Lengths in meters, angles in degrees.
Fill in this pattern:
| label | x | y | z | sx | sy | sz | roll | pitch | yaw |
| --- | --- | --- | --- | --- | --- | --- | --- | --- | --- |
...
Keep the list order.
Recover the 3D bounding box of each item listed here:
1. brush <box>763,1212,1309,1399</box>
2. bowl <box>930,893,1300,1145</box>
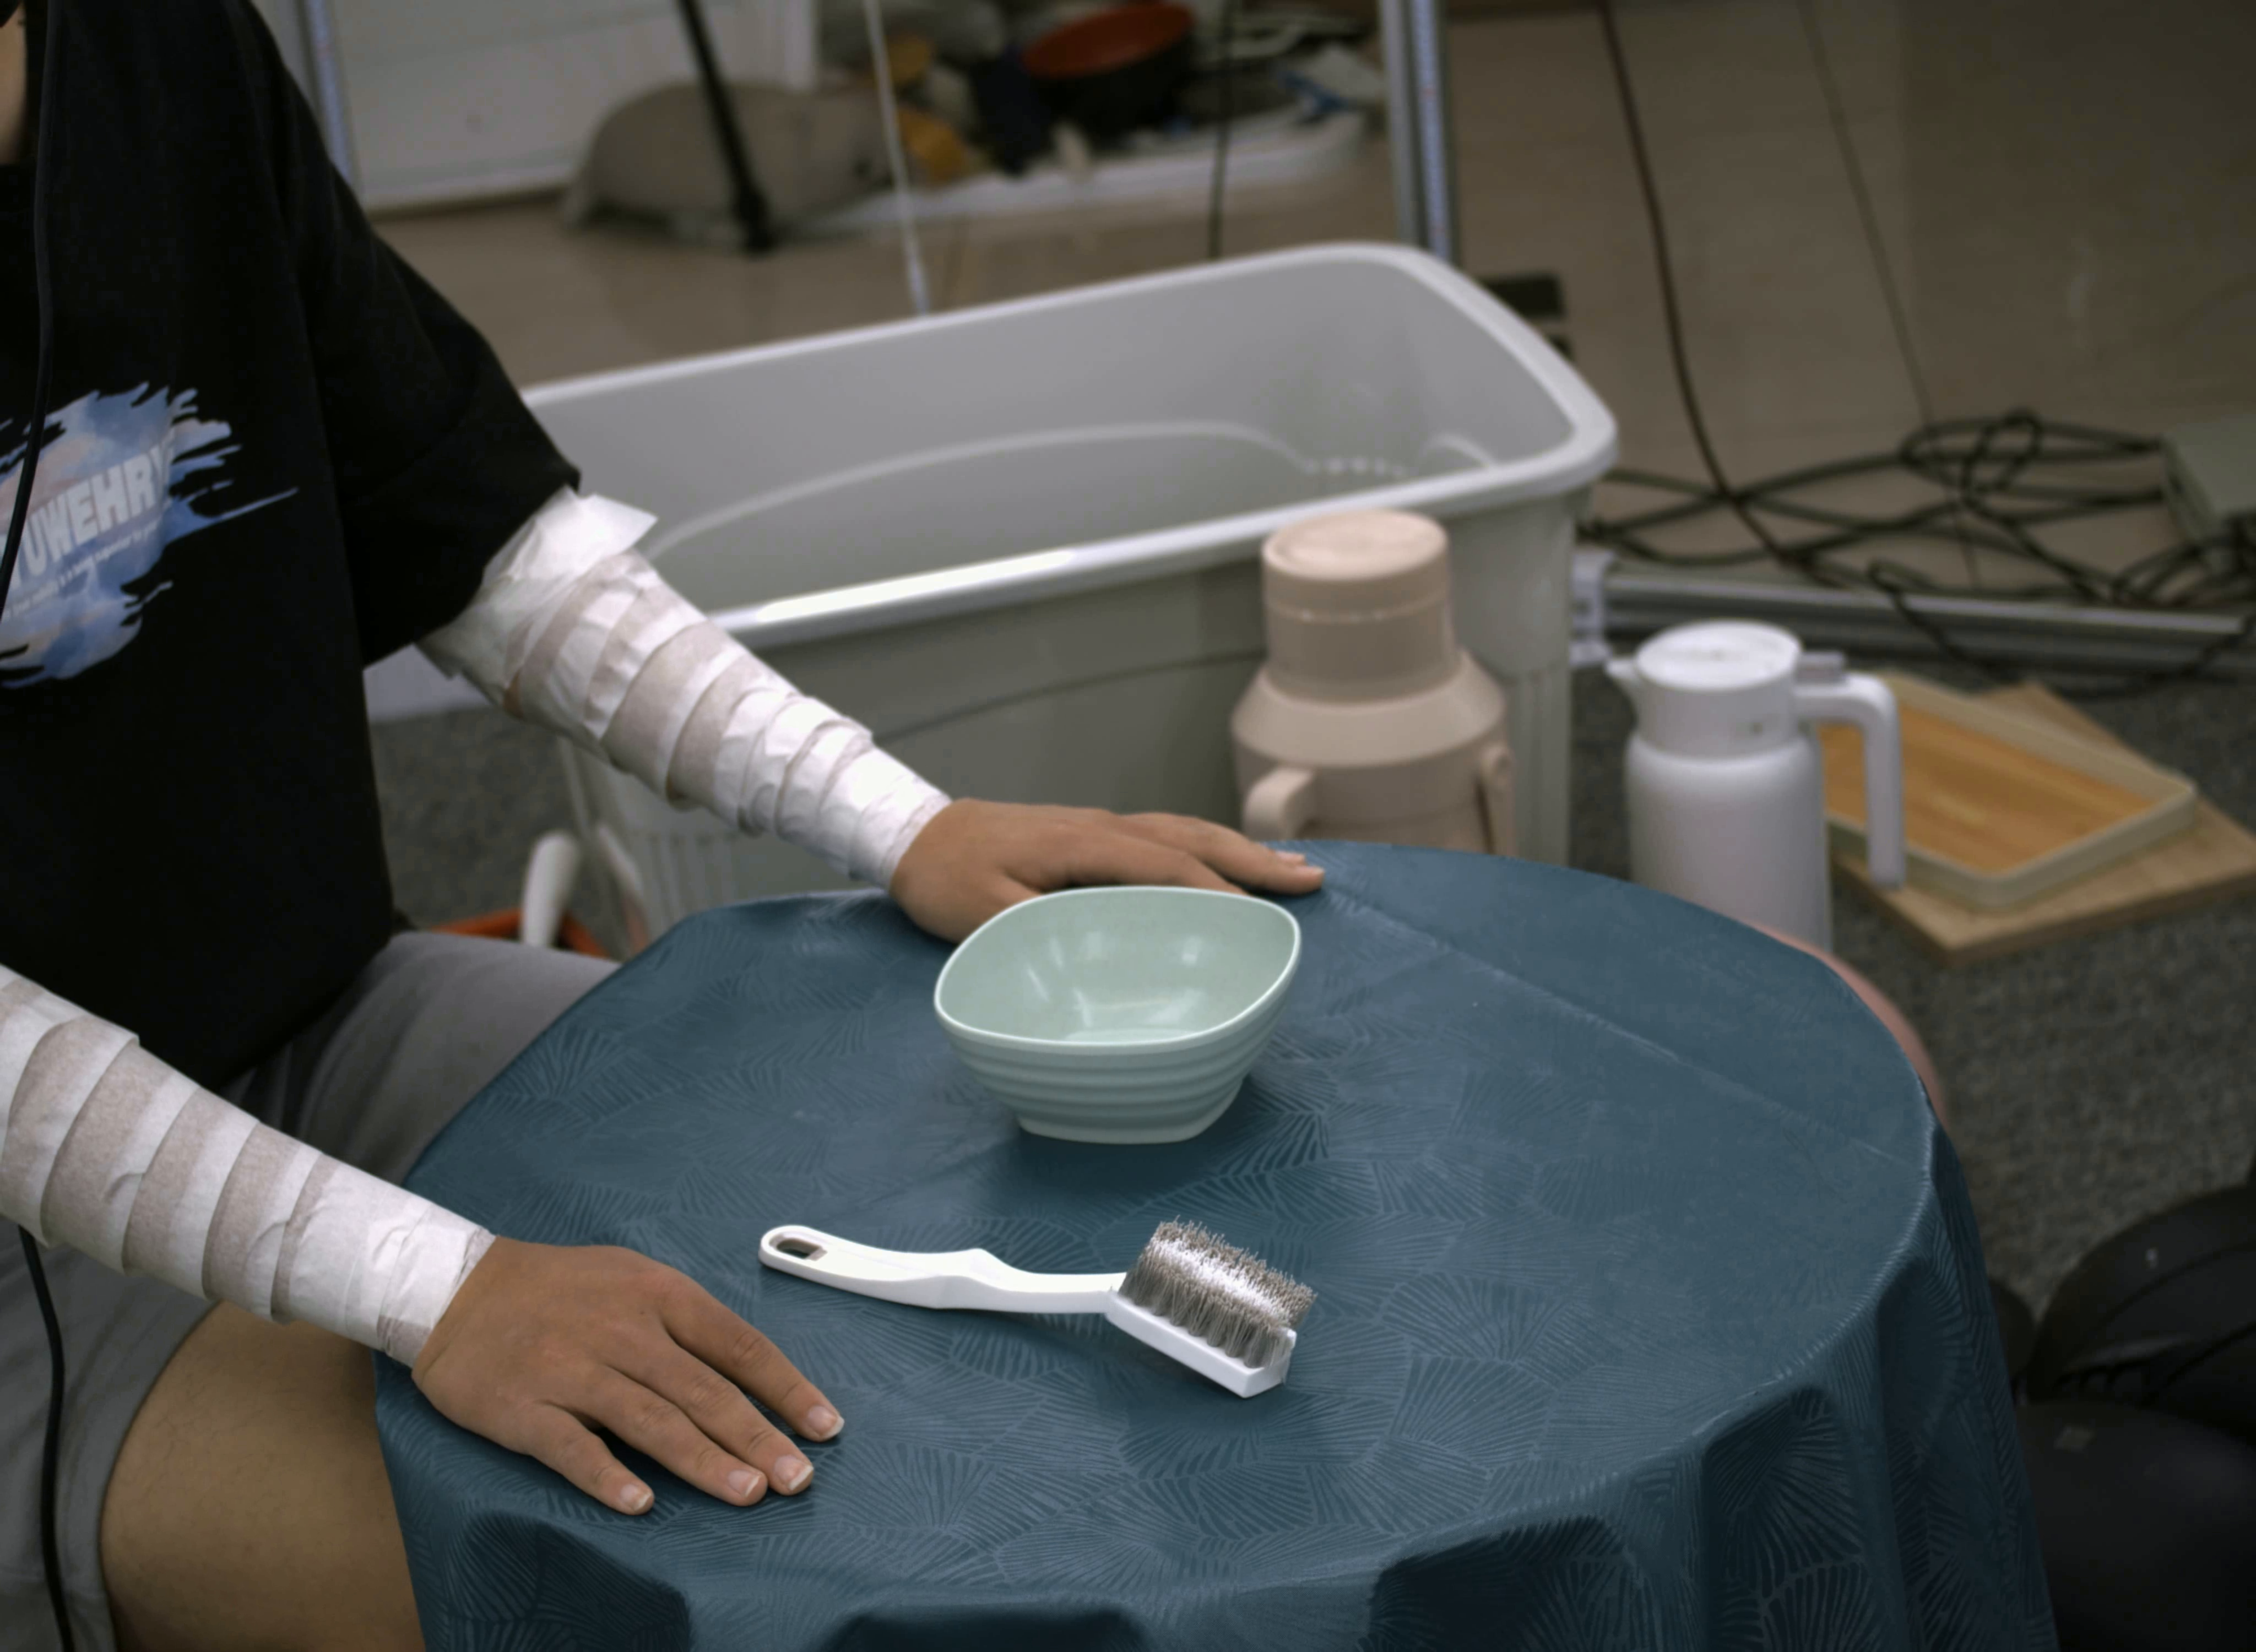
| label | x | y | z | sx | sy | sz | roll | pitch | yaw |
| --- | --- | --- | --- | --- | --- | --- | --- | --- | --- |
| brush | -0.039 | 0.155 | 2.059 | 0.242 | 0.051 | 0.034 | 13 | 32 | 35 |
| bowl | -0.002 | 0.080 | 2.208 | 0.151 | 0.059 | 0.149 | -5 | 23 | 2 |
